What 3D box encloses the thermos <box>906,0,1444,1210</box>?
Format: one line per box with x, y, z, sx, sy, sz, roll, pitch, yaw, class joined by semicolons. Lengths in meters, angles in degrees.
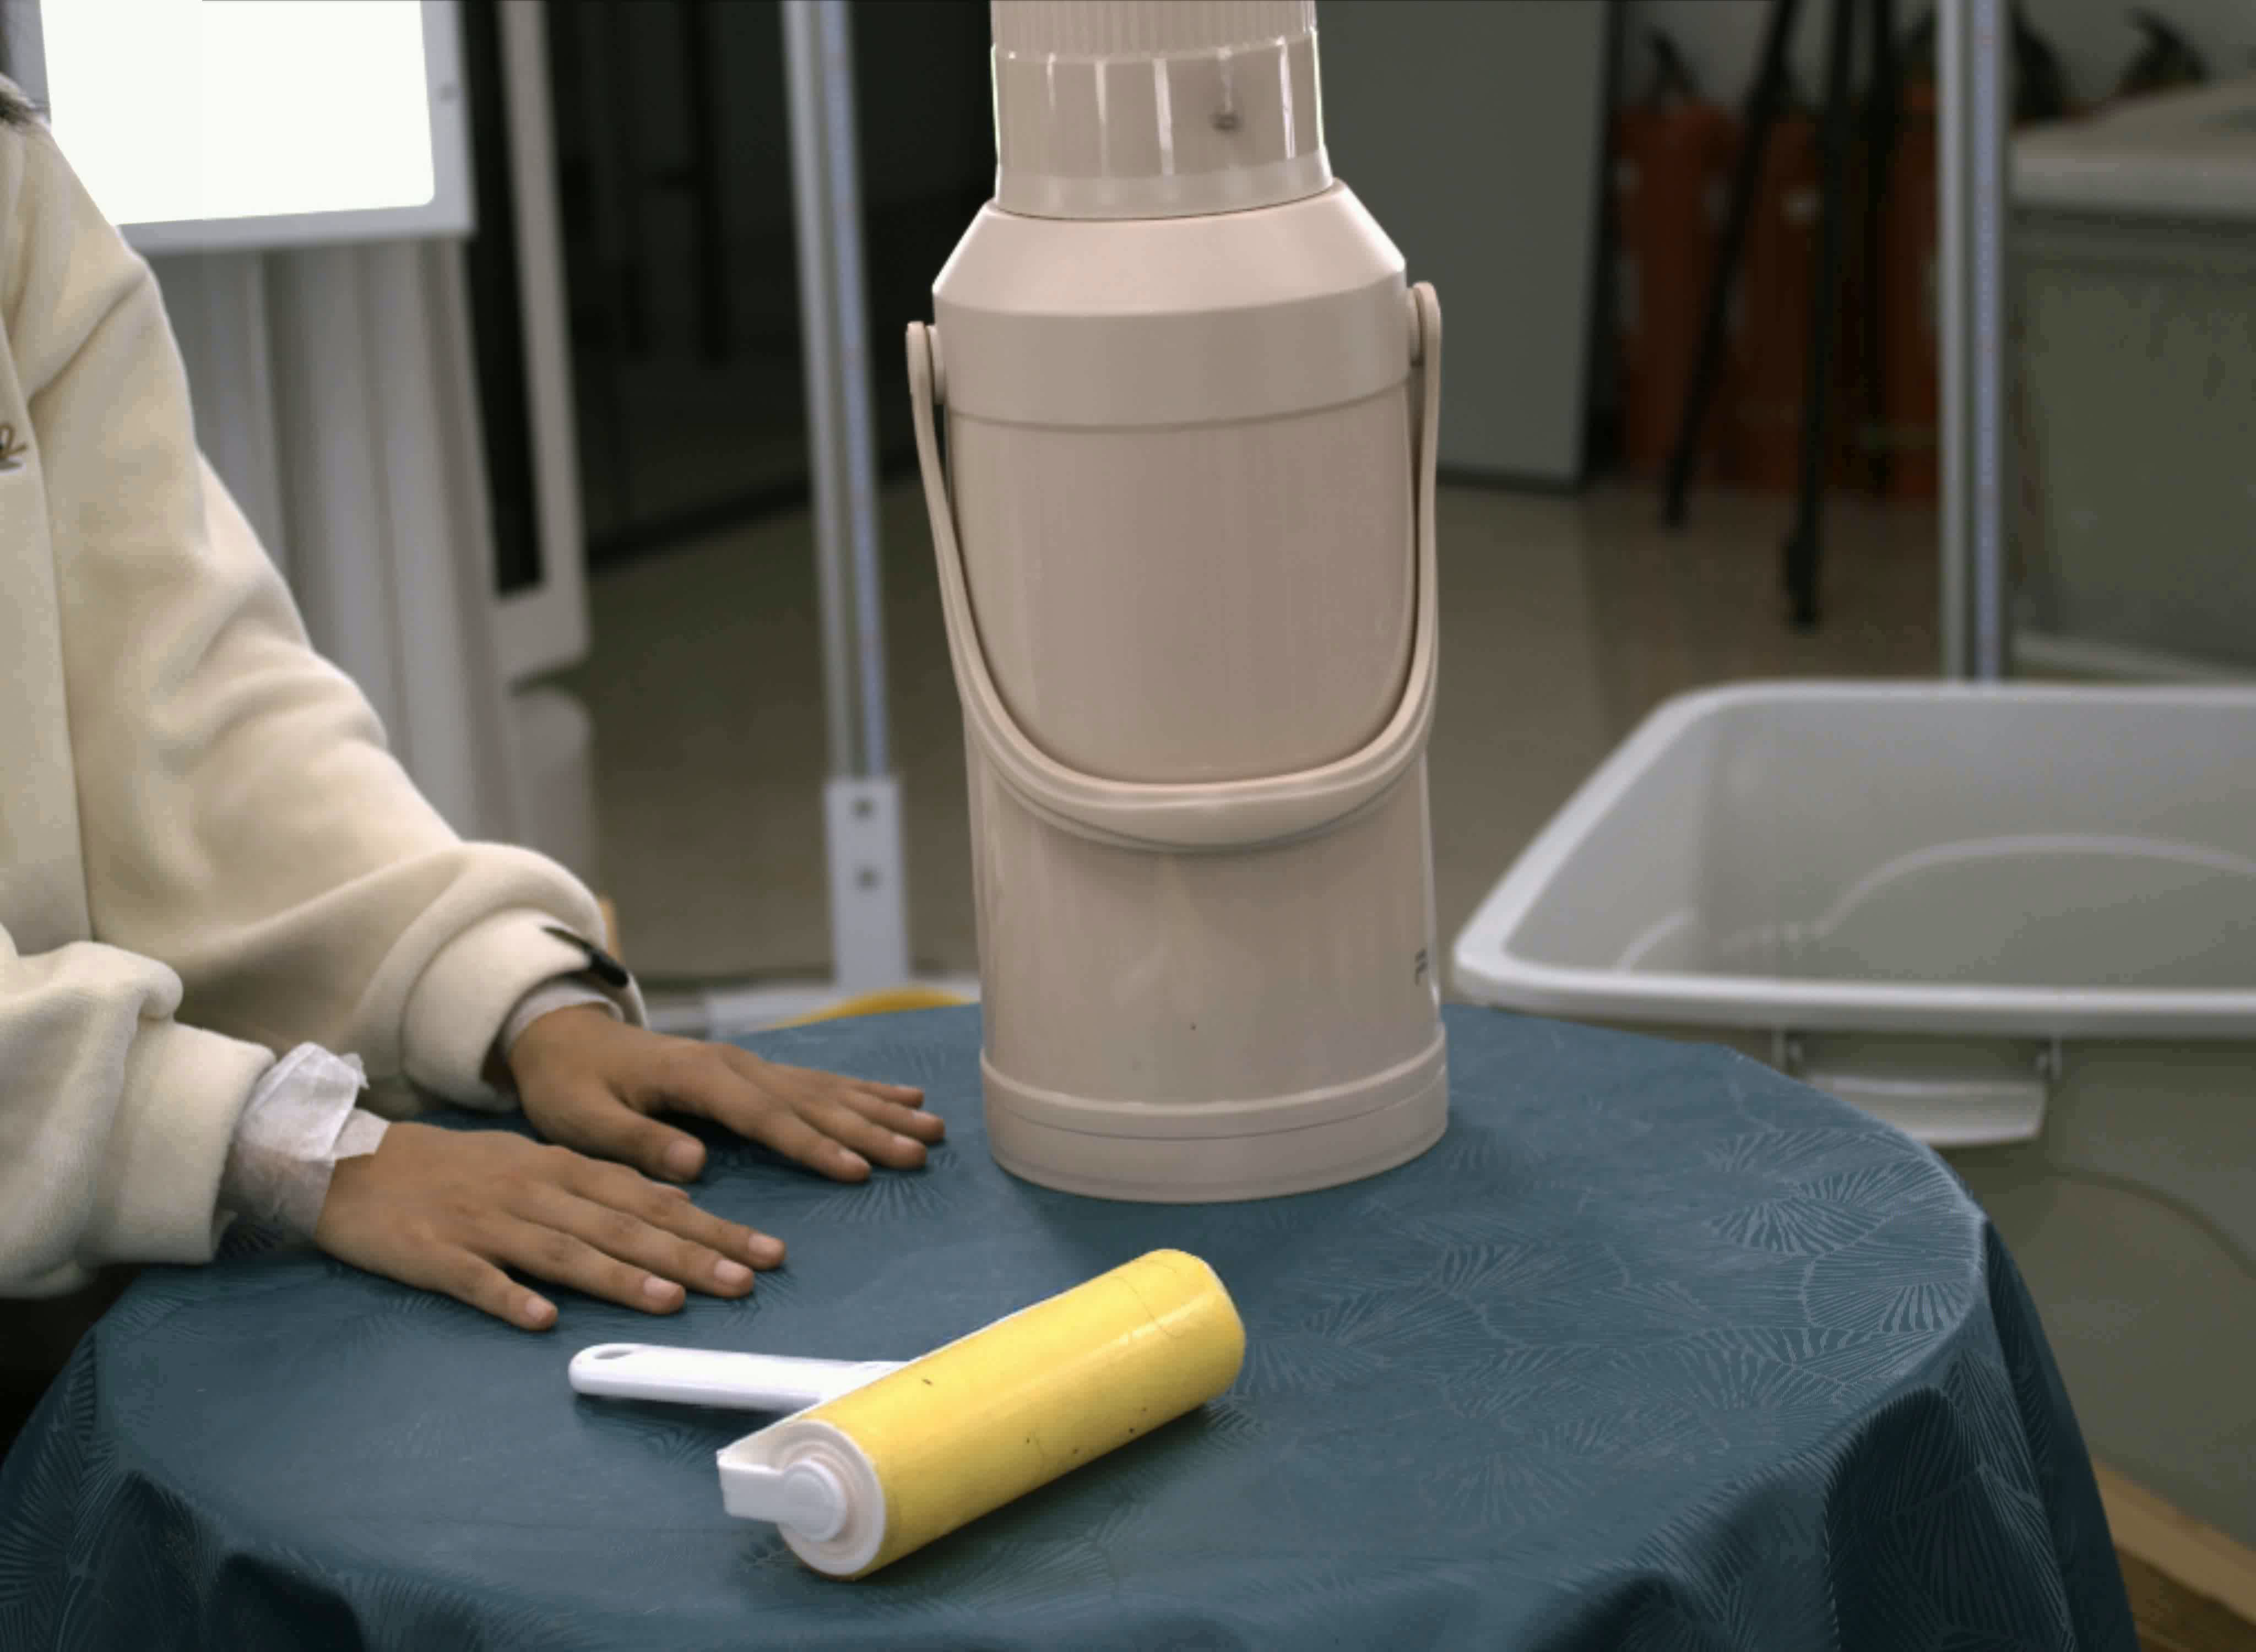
0.018;-0.092;1.793;0.172;0.411;0.208;-5;13;-5;thermos

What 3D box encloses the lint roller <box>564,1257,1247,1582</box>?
-0.088;0.153;1.551;0.193;0.052;0.171;13;21;36;lint roller
